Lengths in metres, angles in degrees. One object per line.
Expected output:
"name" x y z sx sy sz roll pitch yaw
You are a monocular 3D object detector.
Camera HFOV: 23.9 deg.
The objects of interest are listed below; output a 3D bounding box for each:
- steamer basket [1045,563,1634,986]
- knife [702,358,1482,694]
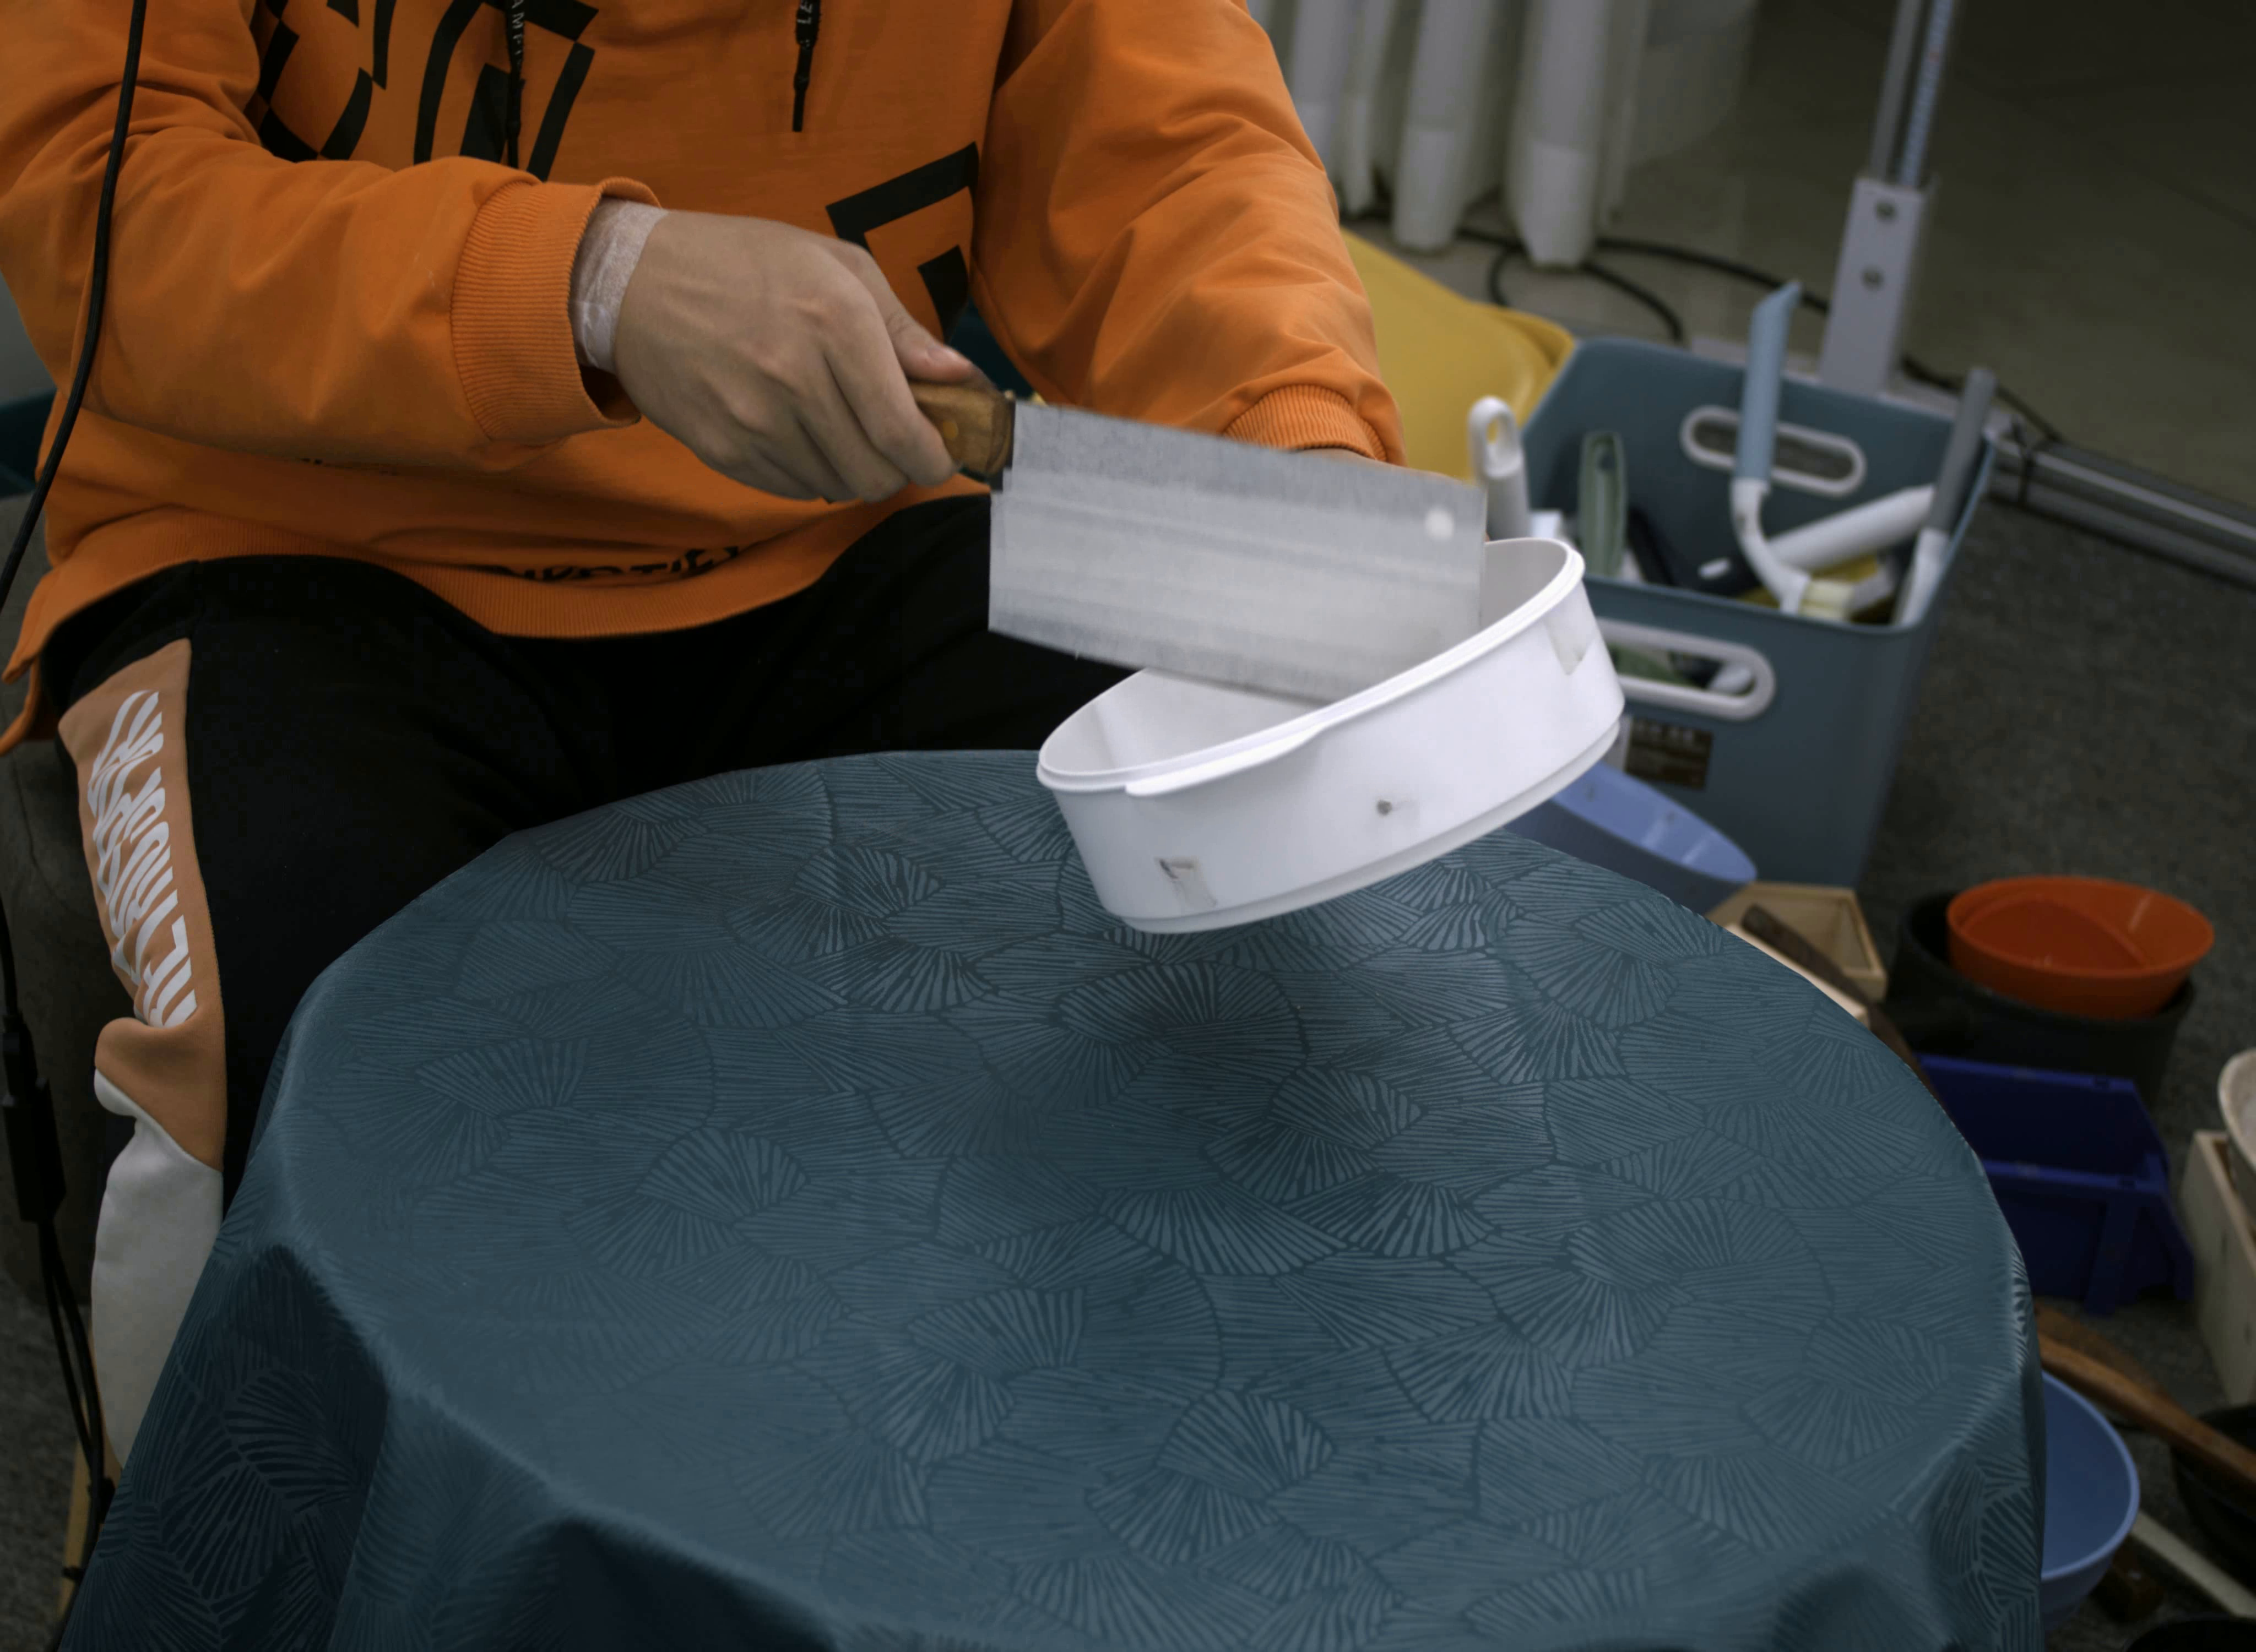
"steamer basket" 0.075 -0.016 1.821 0.202 0.069 0.231 -17 18 25
"knife" -0.016 -0.102 1.857 0.307 0.092 0.021 13 26 25
